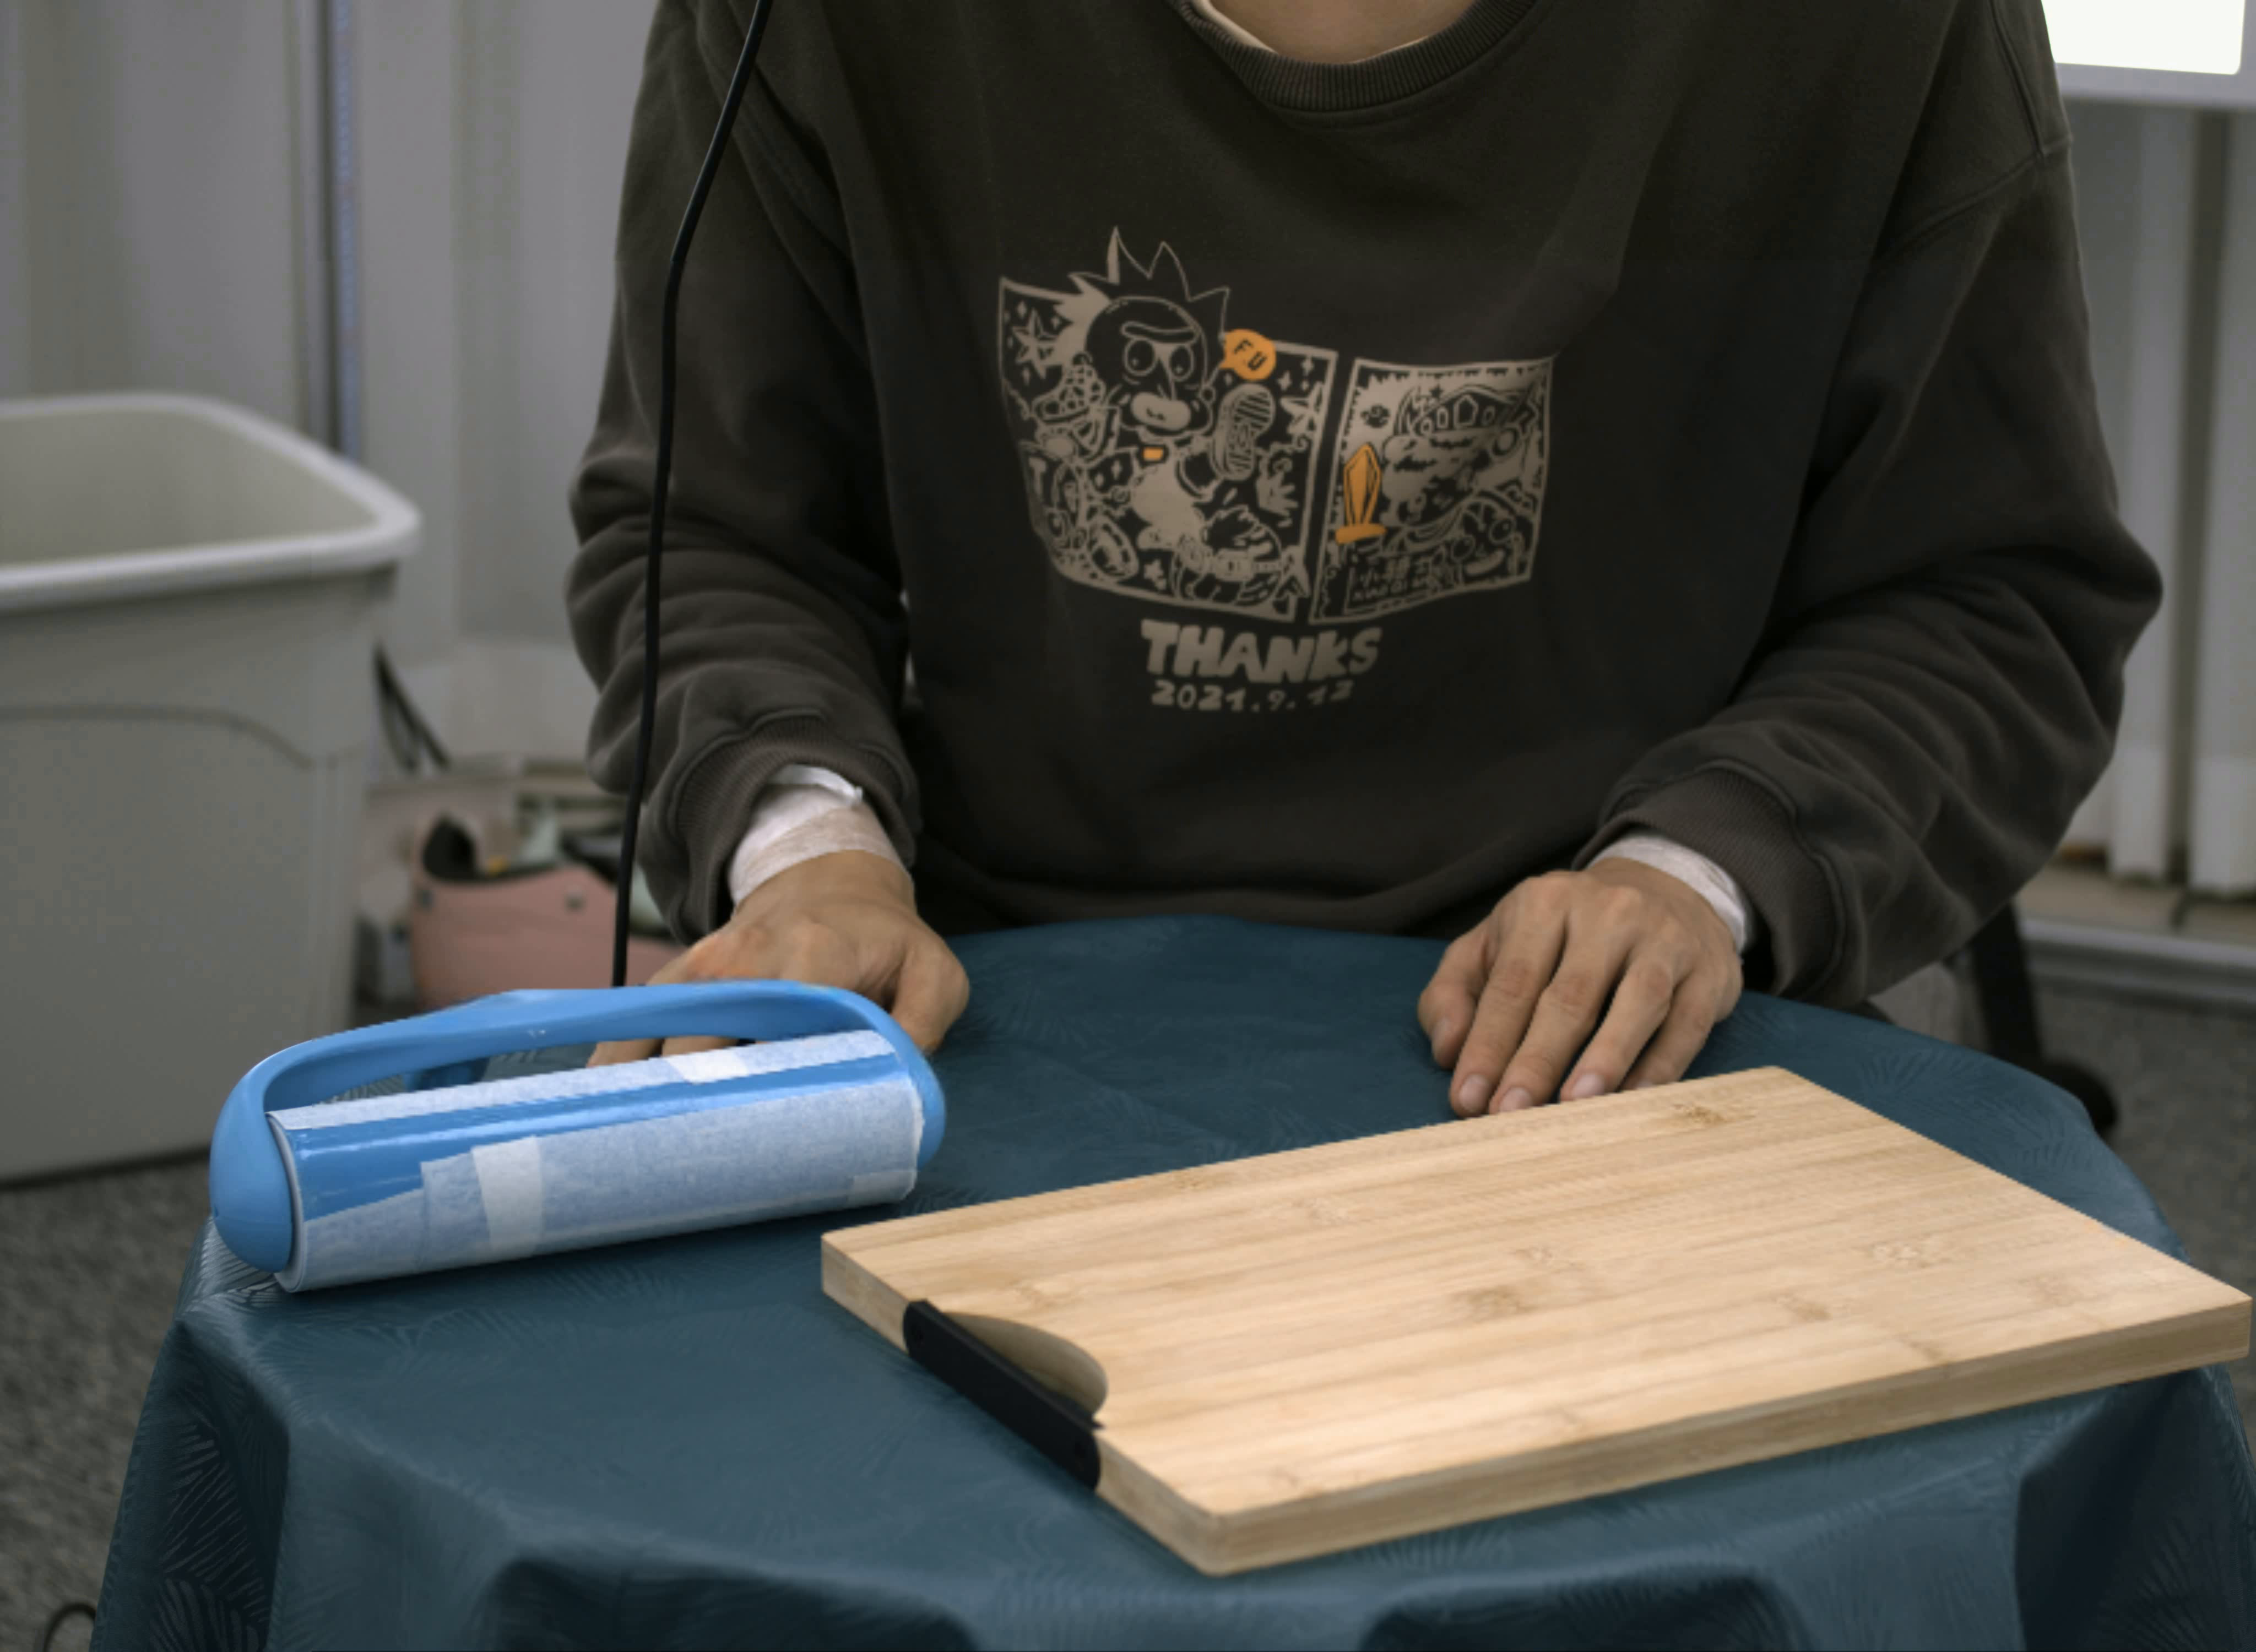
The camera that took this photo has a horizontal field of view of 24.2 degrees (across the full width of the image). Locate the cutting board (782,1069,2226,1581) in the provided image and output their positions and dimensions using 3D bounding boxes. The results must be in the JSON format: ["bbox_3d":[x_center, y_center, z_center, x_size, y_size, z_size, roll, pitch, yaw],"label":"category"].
[{"bbox_3d":[0.108,0.136,1.519,0.350,0.024,0.247,-8,17,-28],"label":"cutting board"}]

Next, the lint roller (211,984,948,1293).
[{"bbox_3d":[-0.188,0.083,1.623,0.230,0.068,0.178,-9,20,-26],"label":"lint roller"}]
